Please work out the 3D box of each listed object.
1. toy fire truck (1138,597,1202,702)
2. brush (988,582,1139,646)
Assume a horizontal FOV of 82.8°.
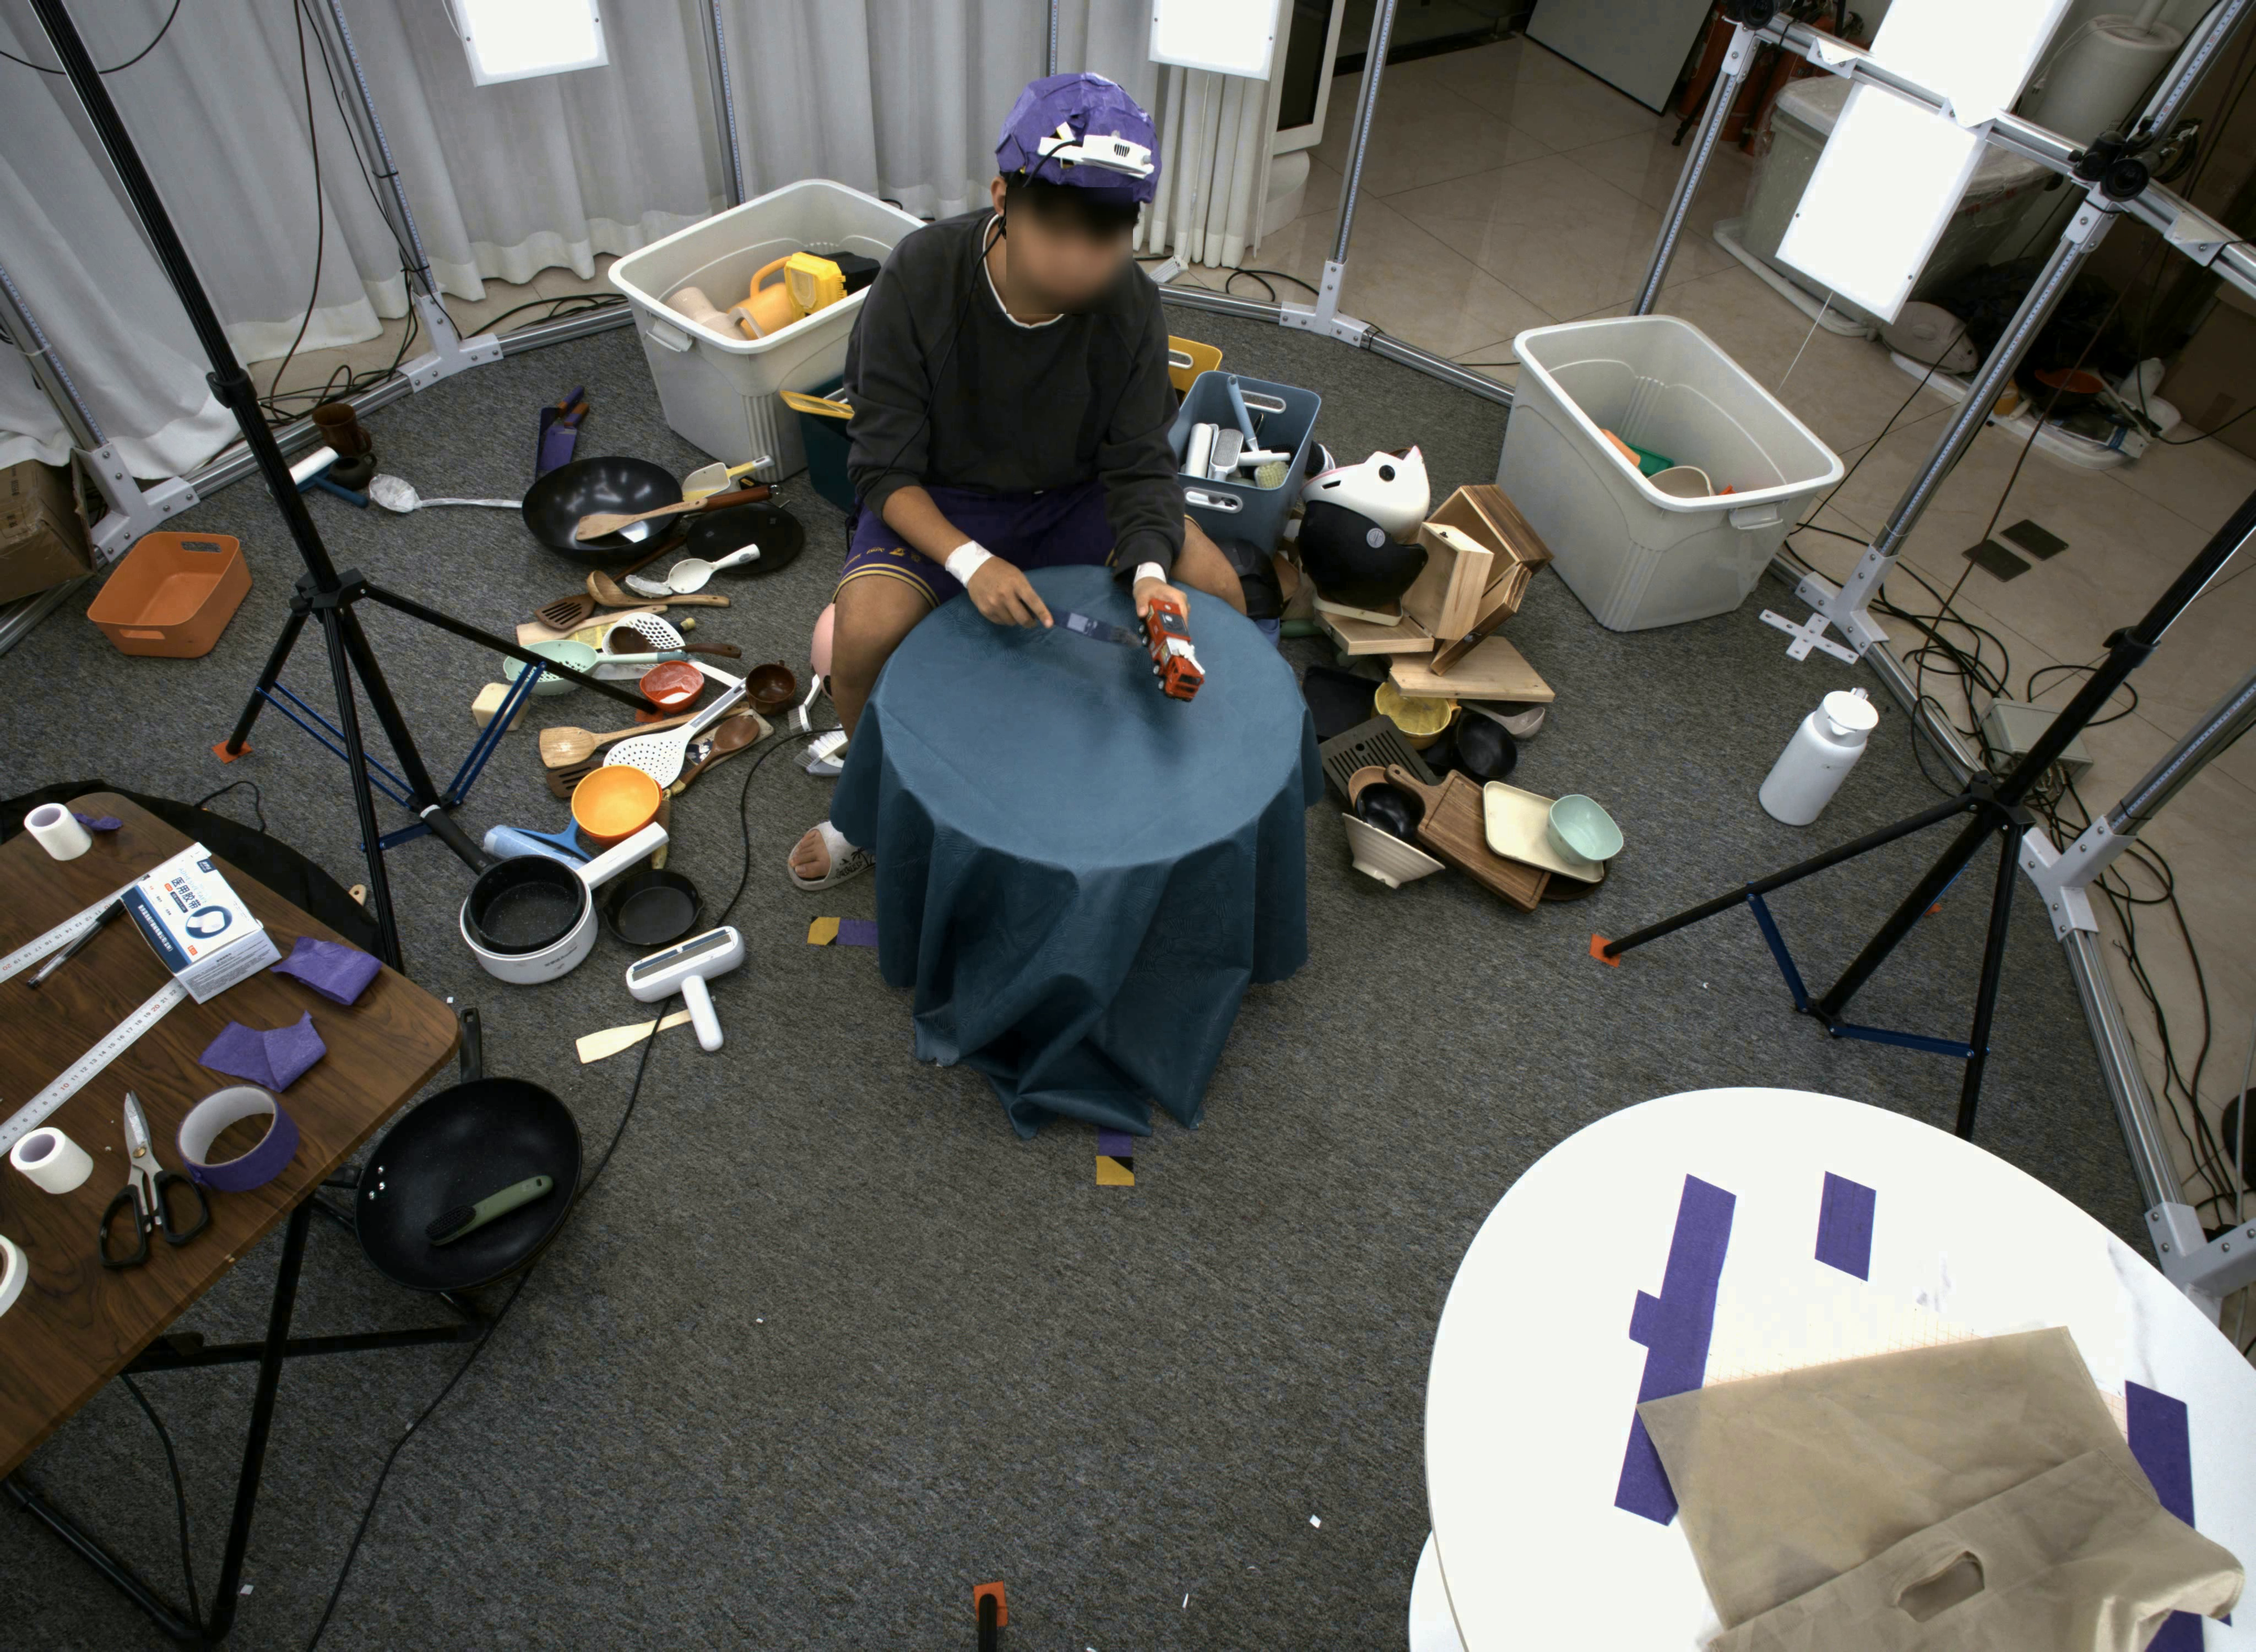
[{"bbox_3d":[0.059,-0.246,1.779,0.053,0.069,0.172,11,43,-30],"label":"toy fire truck"},{"bbox_3d":[-0.103,-0.301,1.815,0.276,0.033,0.095,22,8,27],"label":"brush"}]
